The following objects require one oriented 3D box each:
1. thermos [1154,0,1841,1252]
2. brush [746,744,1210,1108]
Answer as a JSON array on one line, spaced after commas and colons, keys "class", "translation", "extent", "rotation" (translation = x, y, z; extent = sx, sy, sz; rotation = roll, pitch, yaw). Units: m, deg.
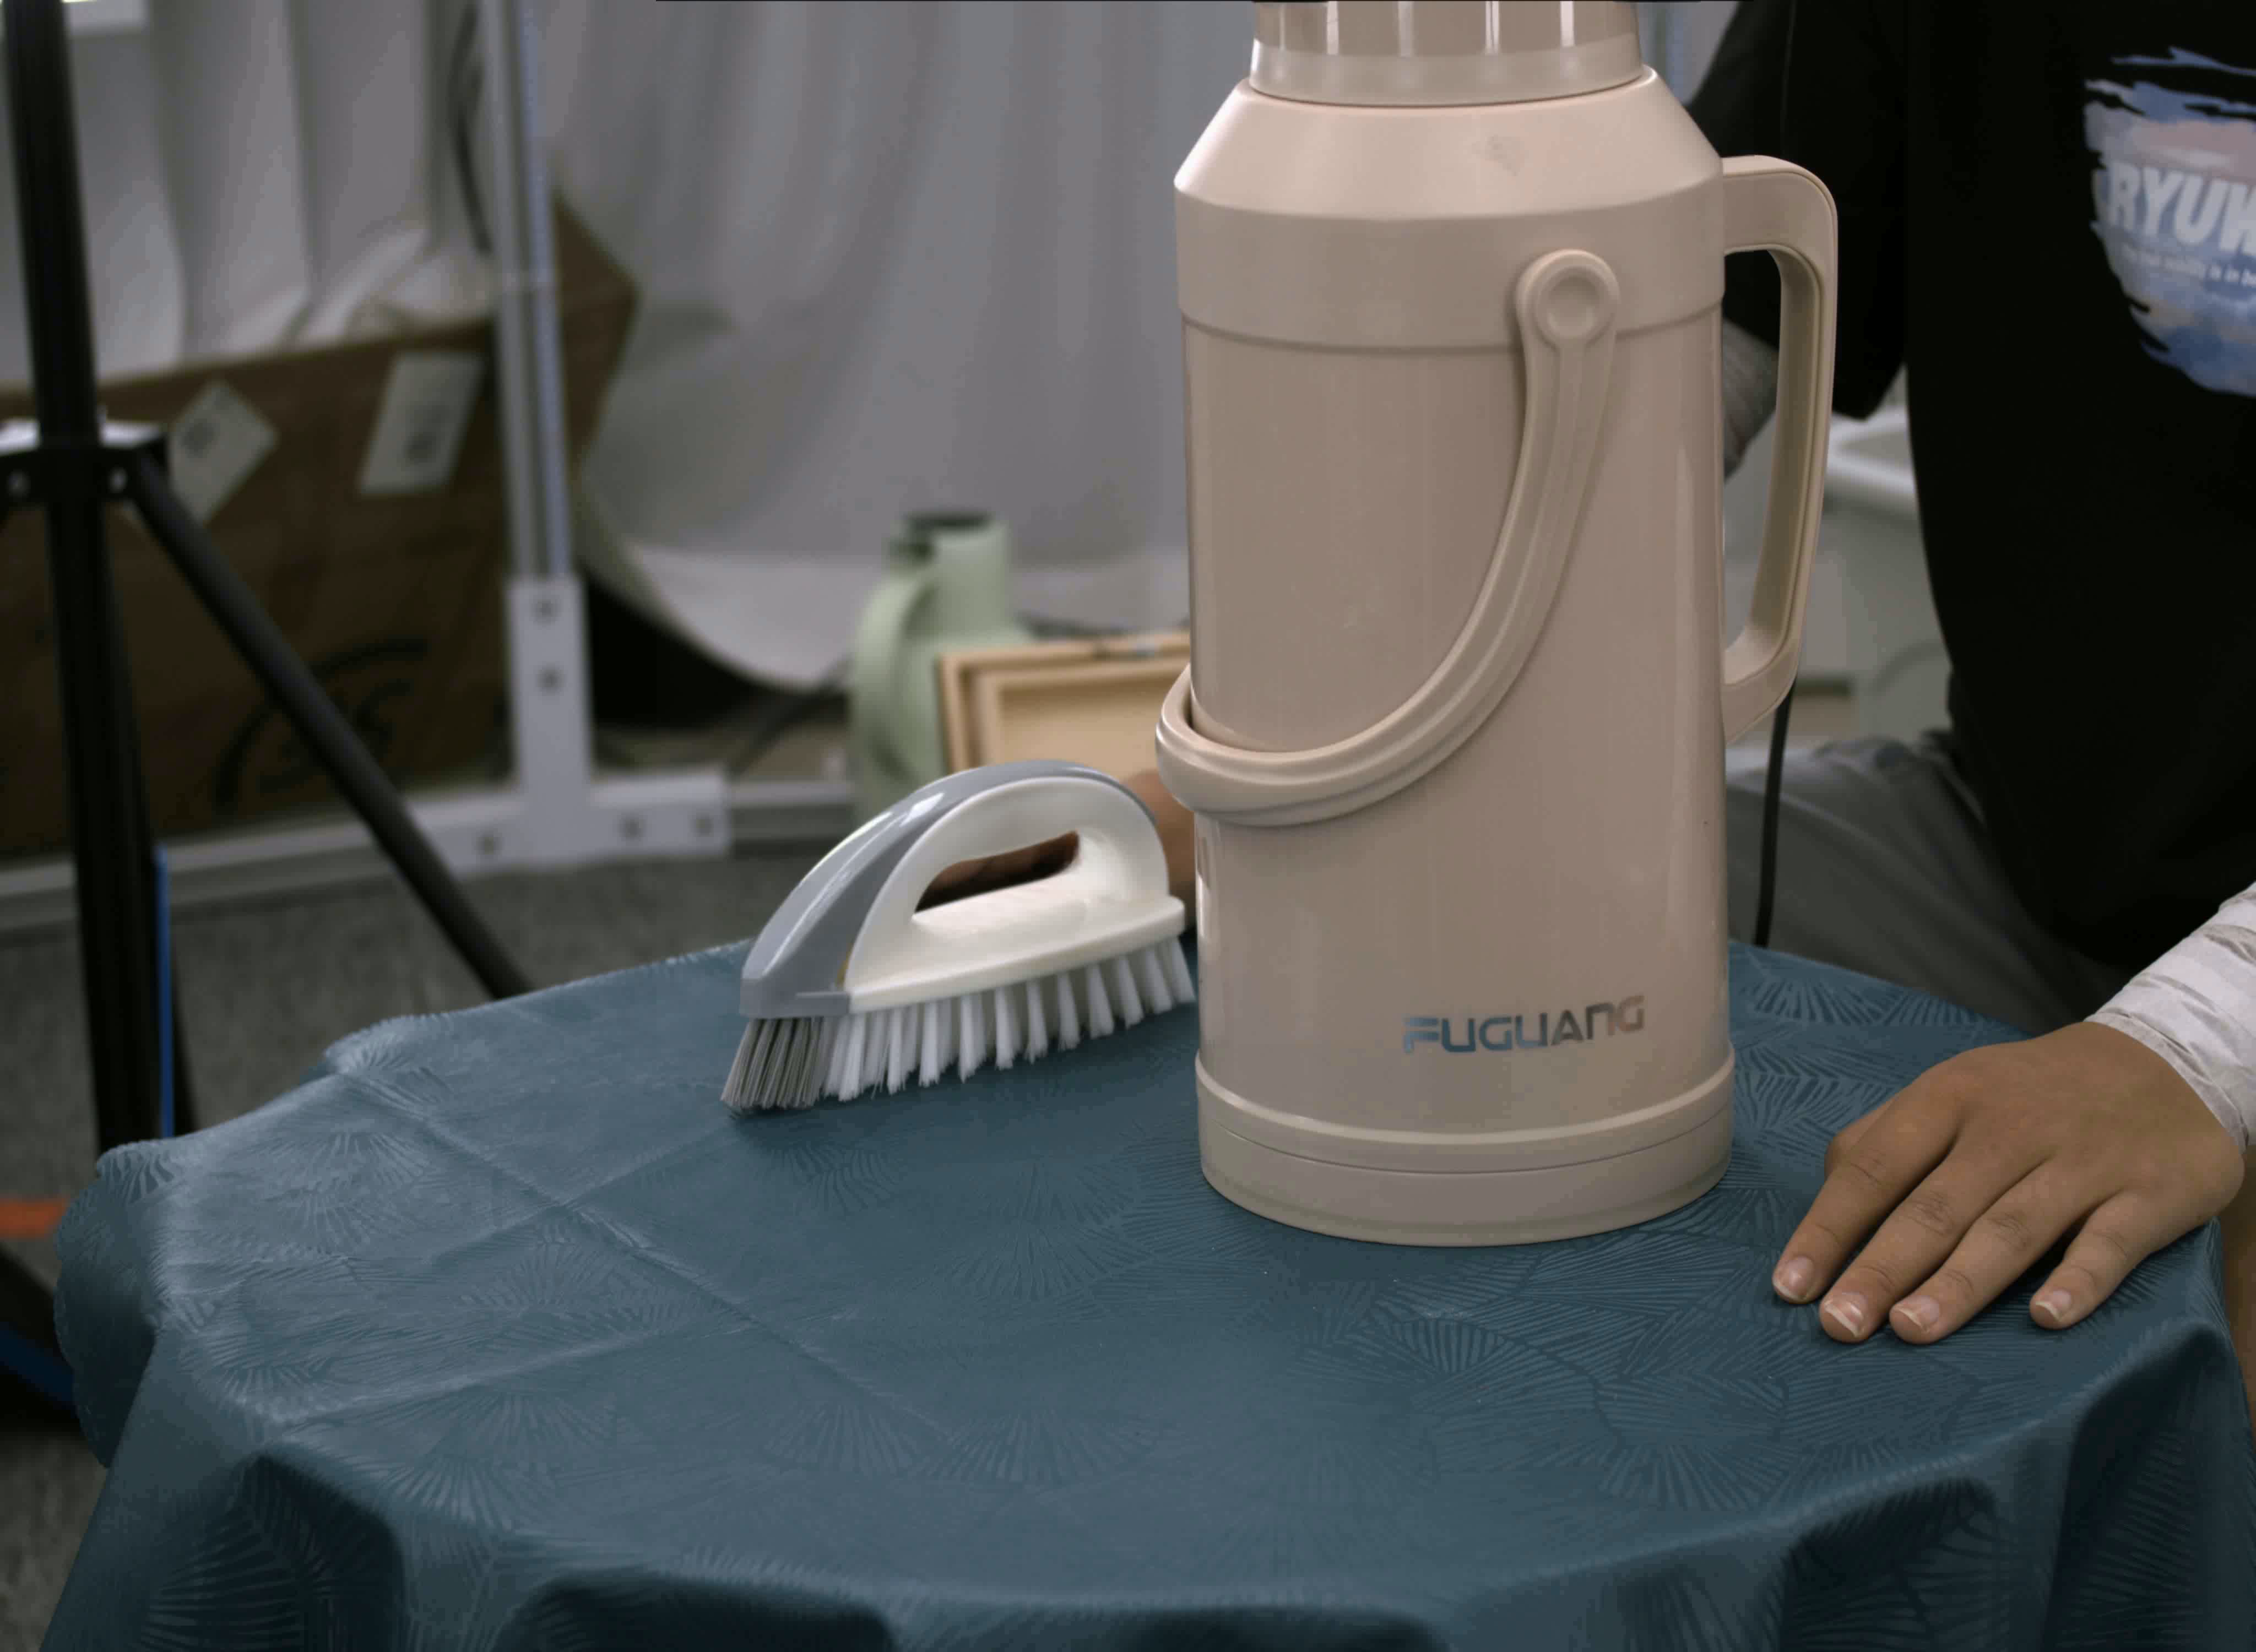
[{"class": "thermos", "translation": [0.108, -0.093, 1.528], "extent": [0.203, 0.406, 0.178], "rotation": [-6, 14, -17]}, {"class": "brush", "translation": [-0.055, 0.028, 1.681], "extent": [0.171, 0.094, 0.063], "rotation": [-17, 15, -37]}]
